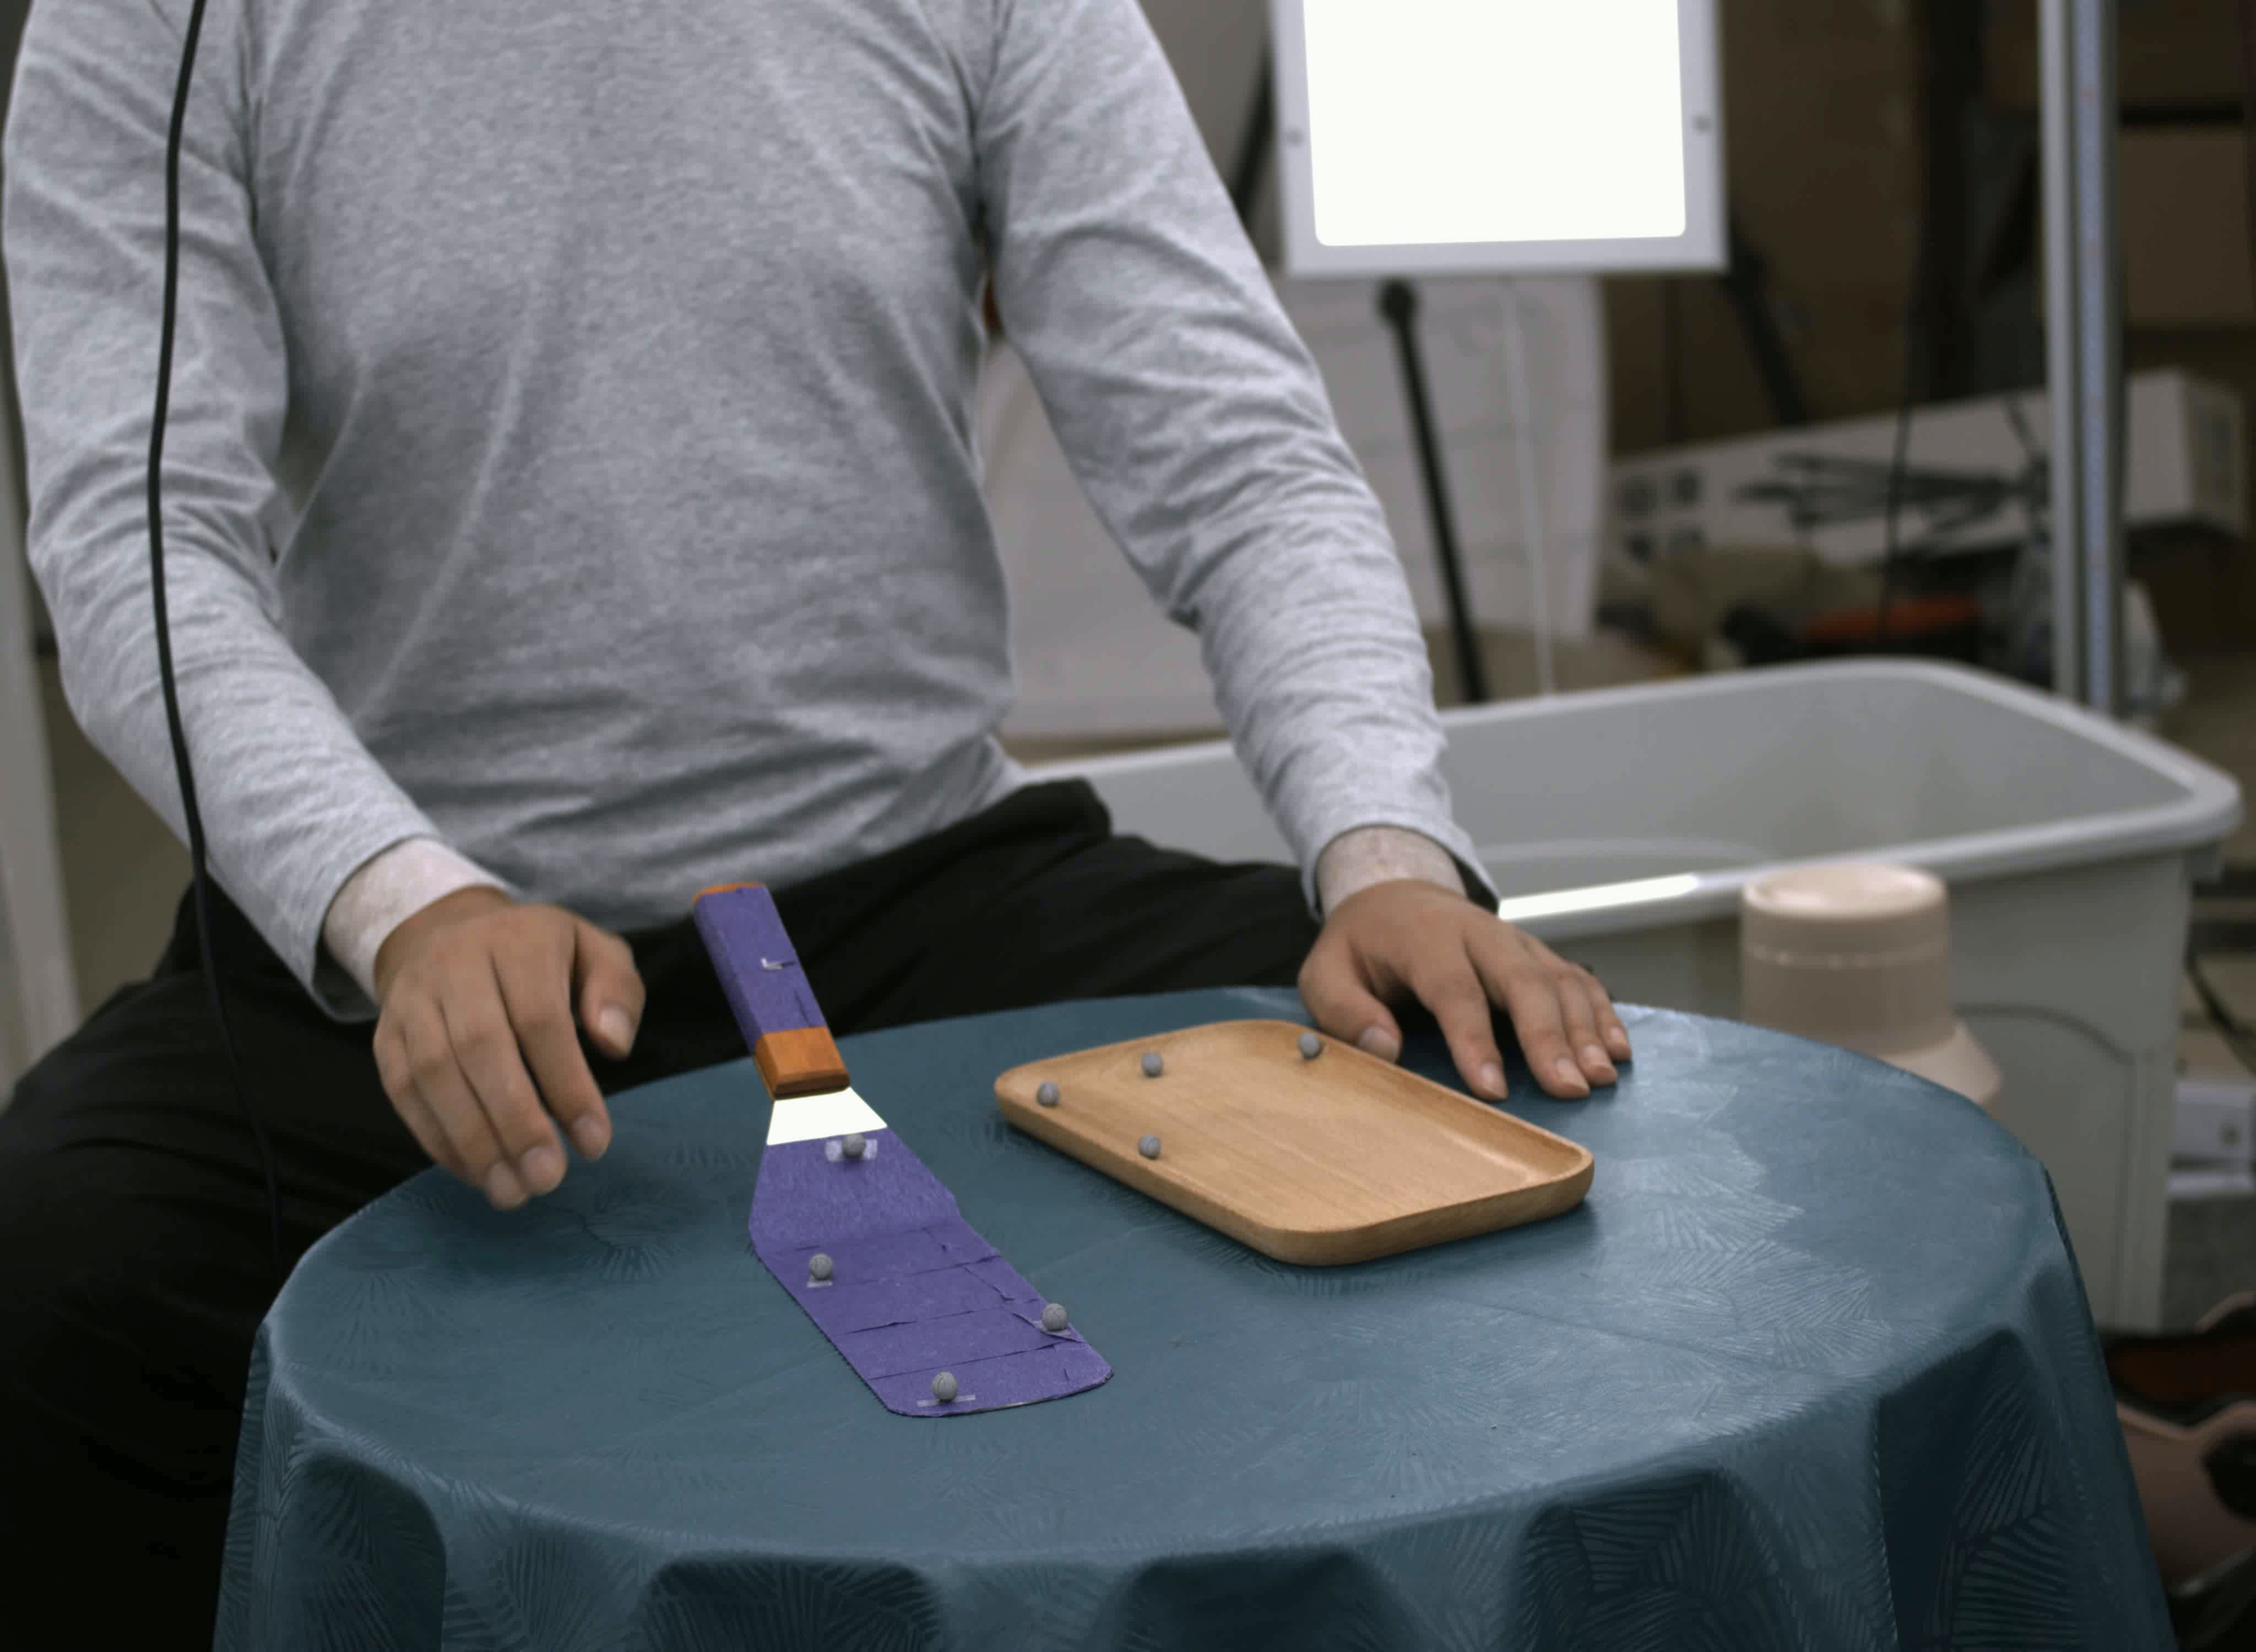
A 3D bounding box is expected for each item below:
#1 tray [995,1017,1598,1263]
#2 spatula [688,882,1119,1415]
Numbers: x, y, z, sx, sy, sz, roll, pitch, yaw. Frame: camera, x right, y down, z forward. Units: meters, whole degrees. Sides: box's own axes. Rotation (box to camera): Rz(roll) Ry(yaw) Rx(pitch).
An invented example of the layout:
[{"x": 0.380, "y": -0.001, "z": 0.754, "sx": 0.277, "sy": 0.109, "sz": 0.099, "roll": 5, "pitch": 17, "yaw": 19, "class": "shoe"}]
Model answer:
[{"x": 0.056, "y": 0.107, "z": 1.919, "sx": 0.128, "sy": 0.023, "sz": 0.255, "roll": -15, "pitch": 17, "yaw": -23, "class": "tray"}, {"x": -0.089, "y": 0.104, "z": 1.854, "sx": 0.074, "sy": 0.087, "sz": 0.361, "roll": -8, "pitch": 39, "yaw": -16, "class": "spatula"}]
